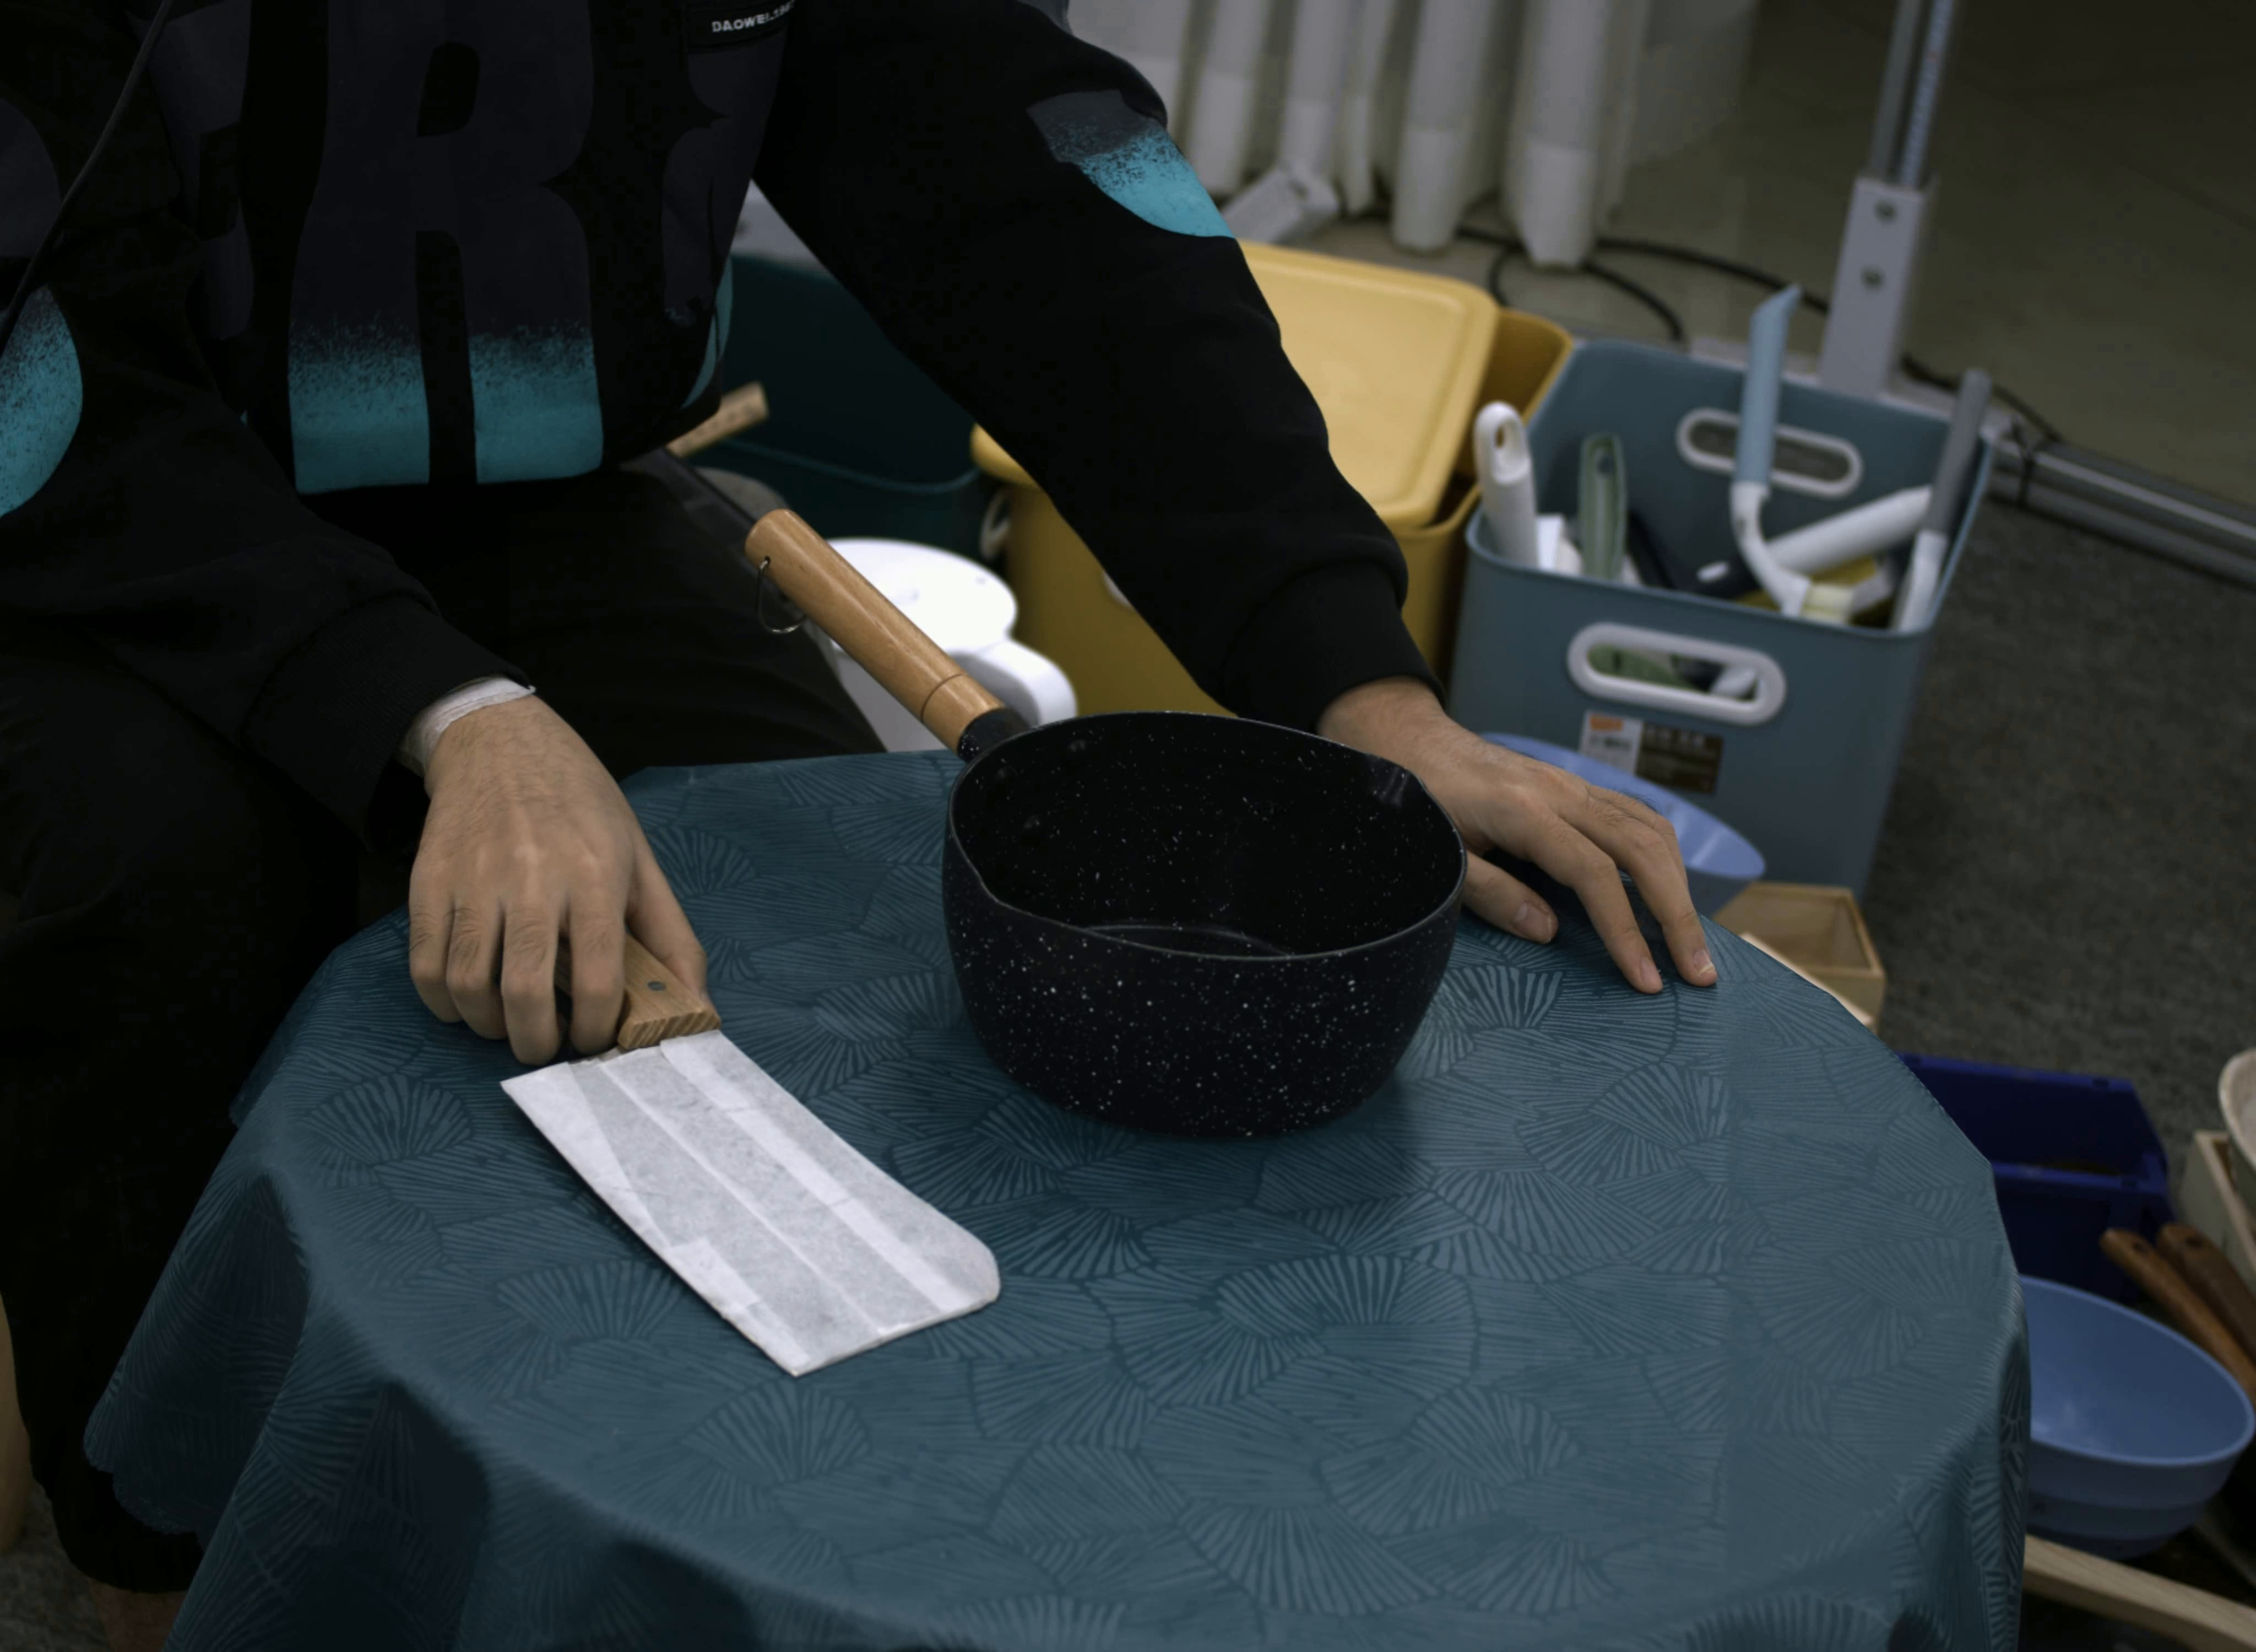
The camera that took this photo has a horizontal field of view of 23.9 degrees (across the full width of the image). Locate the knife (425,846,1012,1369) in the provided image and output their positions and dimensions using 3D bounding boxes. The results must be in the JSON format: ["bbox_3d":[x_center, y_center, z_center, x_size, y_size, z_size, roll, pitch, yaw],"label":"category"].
[{"bbox_3d":[-0.153,0.091,1.812,0.113,0.021,0.318,-12,35,-31],"label":"knife"}]

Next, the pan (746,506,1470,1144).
[{"bbox_3d":[-0.029,-0.004,1.926,0.206,0.108,0.345,-20,38,-40],"label":"pan"}]
